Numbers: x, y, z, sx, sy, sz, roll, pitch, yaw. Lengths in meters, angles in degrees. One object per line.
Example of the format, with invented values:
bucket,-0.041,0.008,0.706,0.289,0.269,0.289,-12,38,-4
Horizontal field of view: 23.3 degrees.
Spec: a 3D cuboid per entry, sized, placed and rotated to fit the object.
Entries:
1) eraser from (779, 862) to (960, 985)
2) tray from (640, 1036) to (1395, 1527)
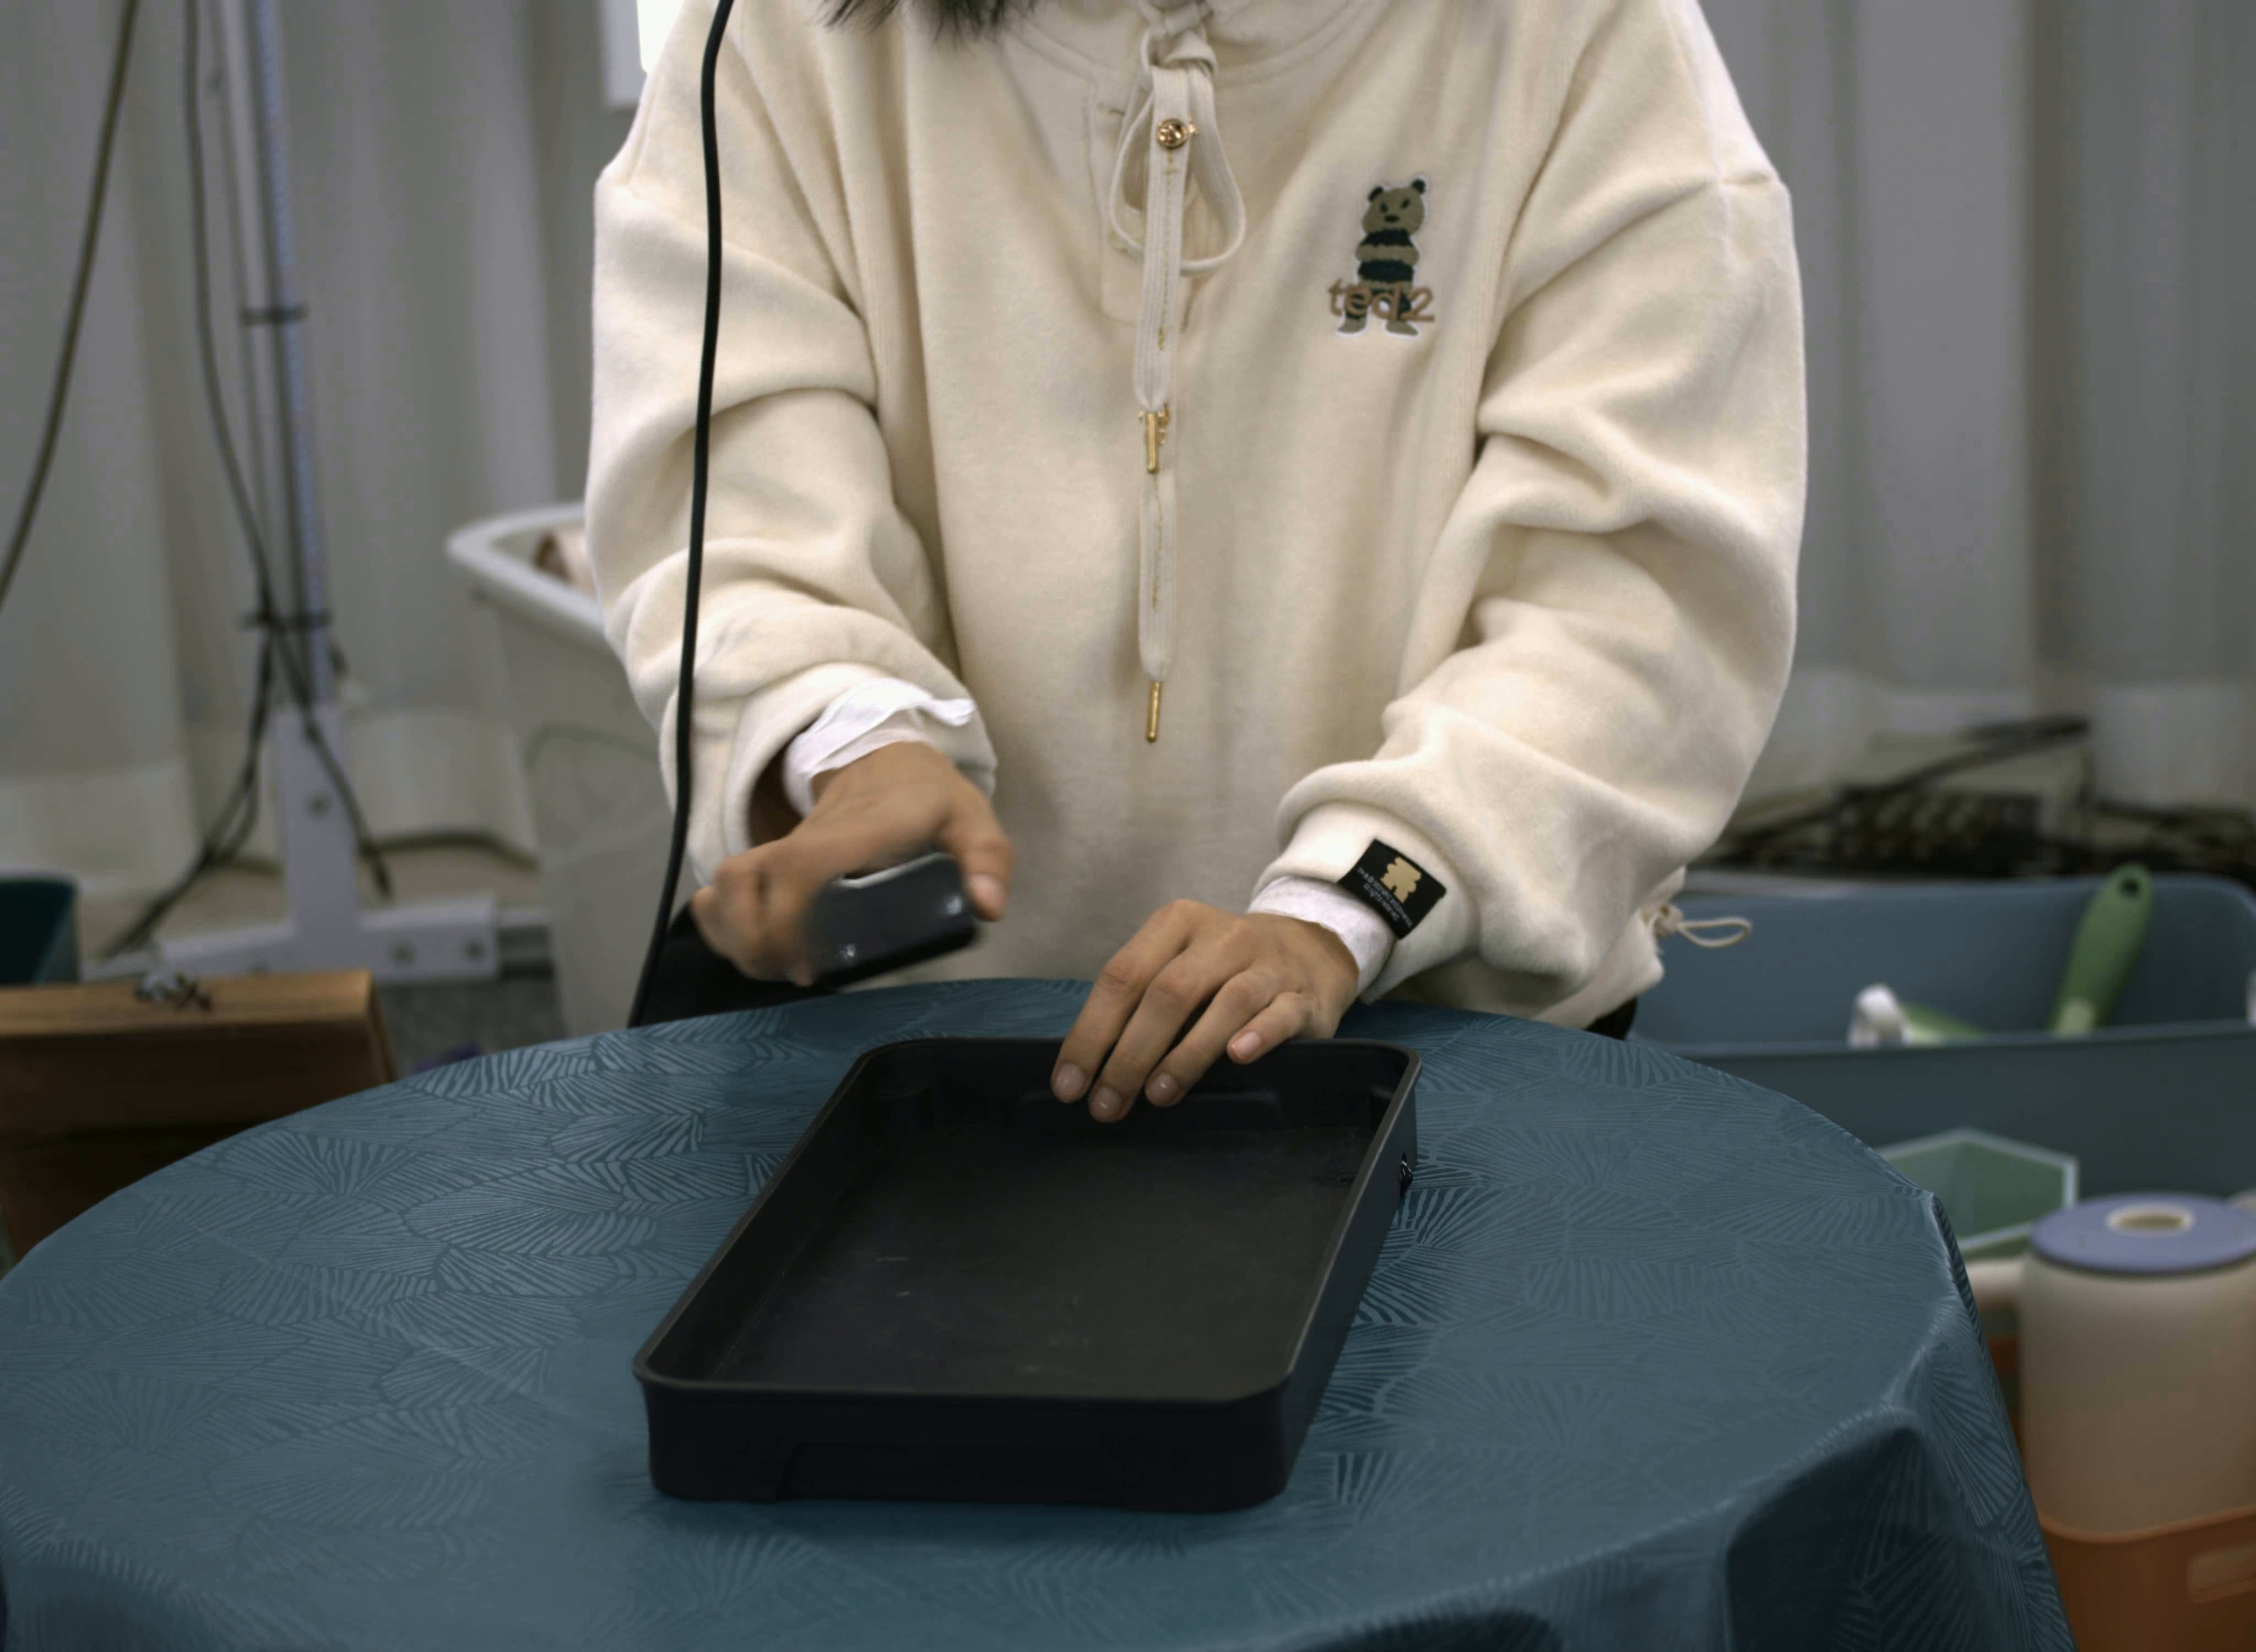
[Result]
eraser,-0.079,0.030,1.714,0.053,0.030,0.125,-14,0,-2
tray,-0.023,0.127,1.598,0.184,0.037,0.320,-1,15,8
